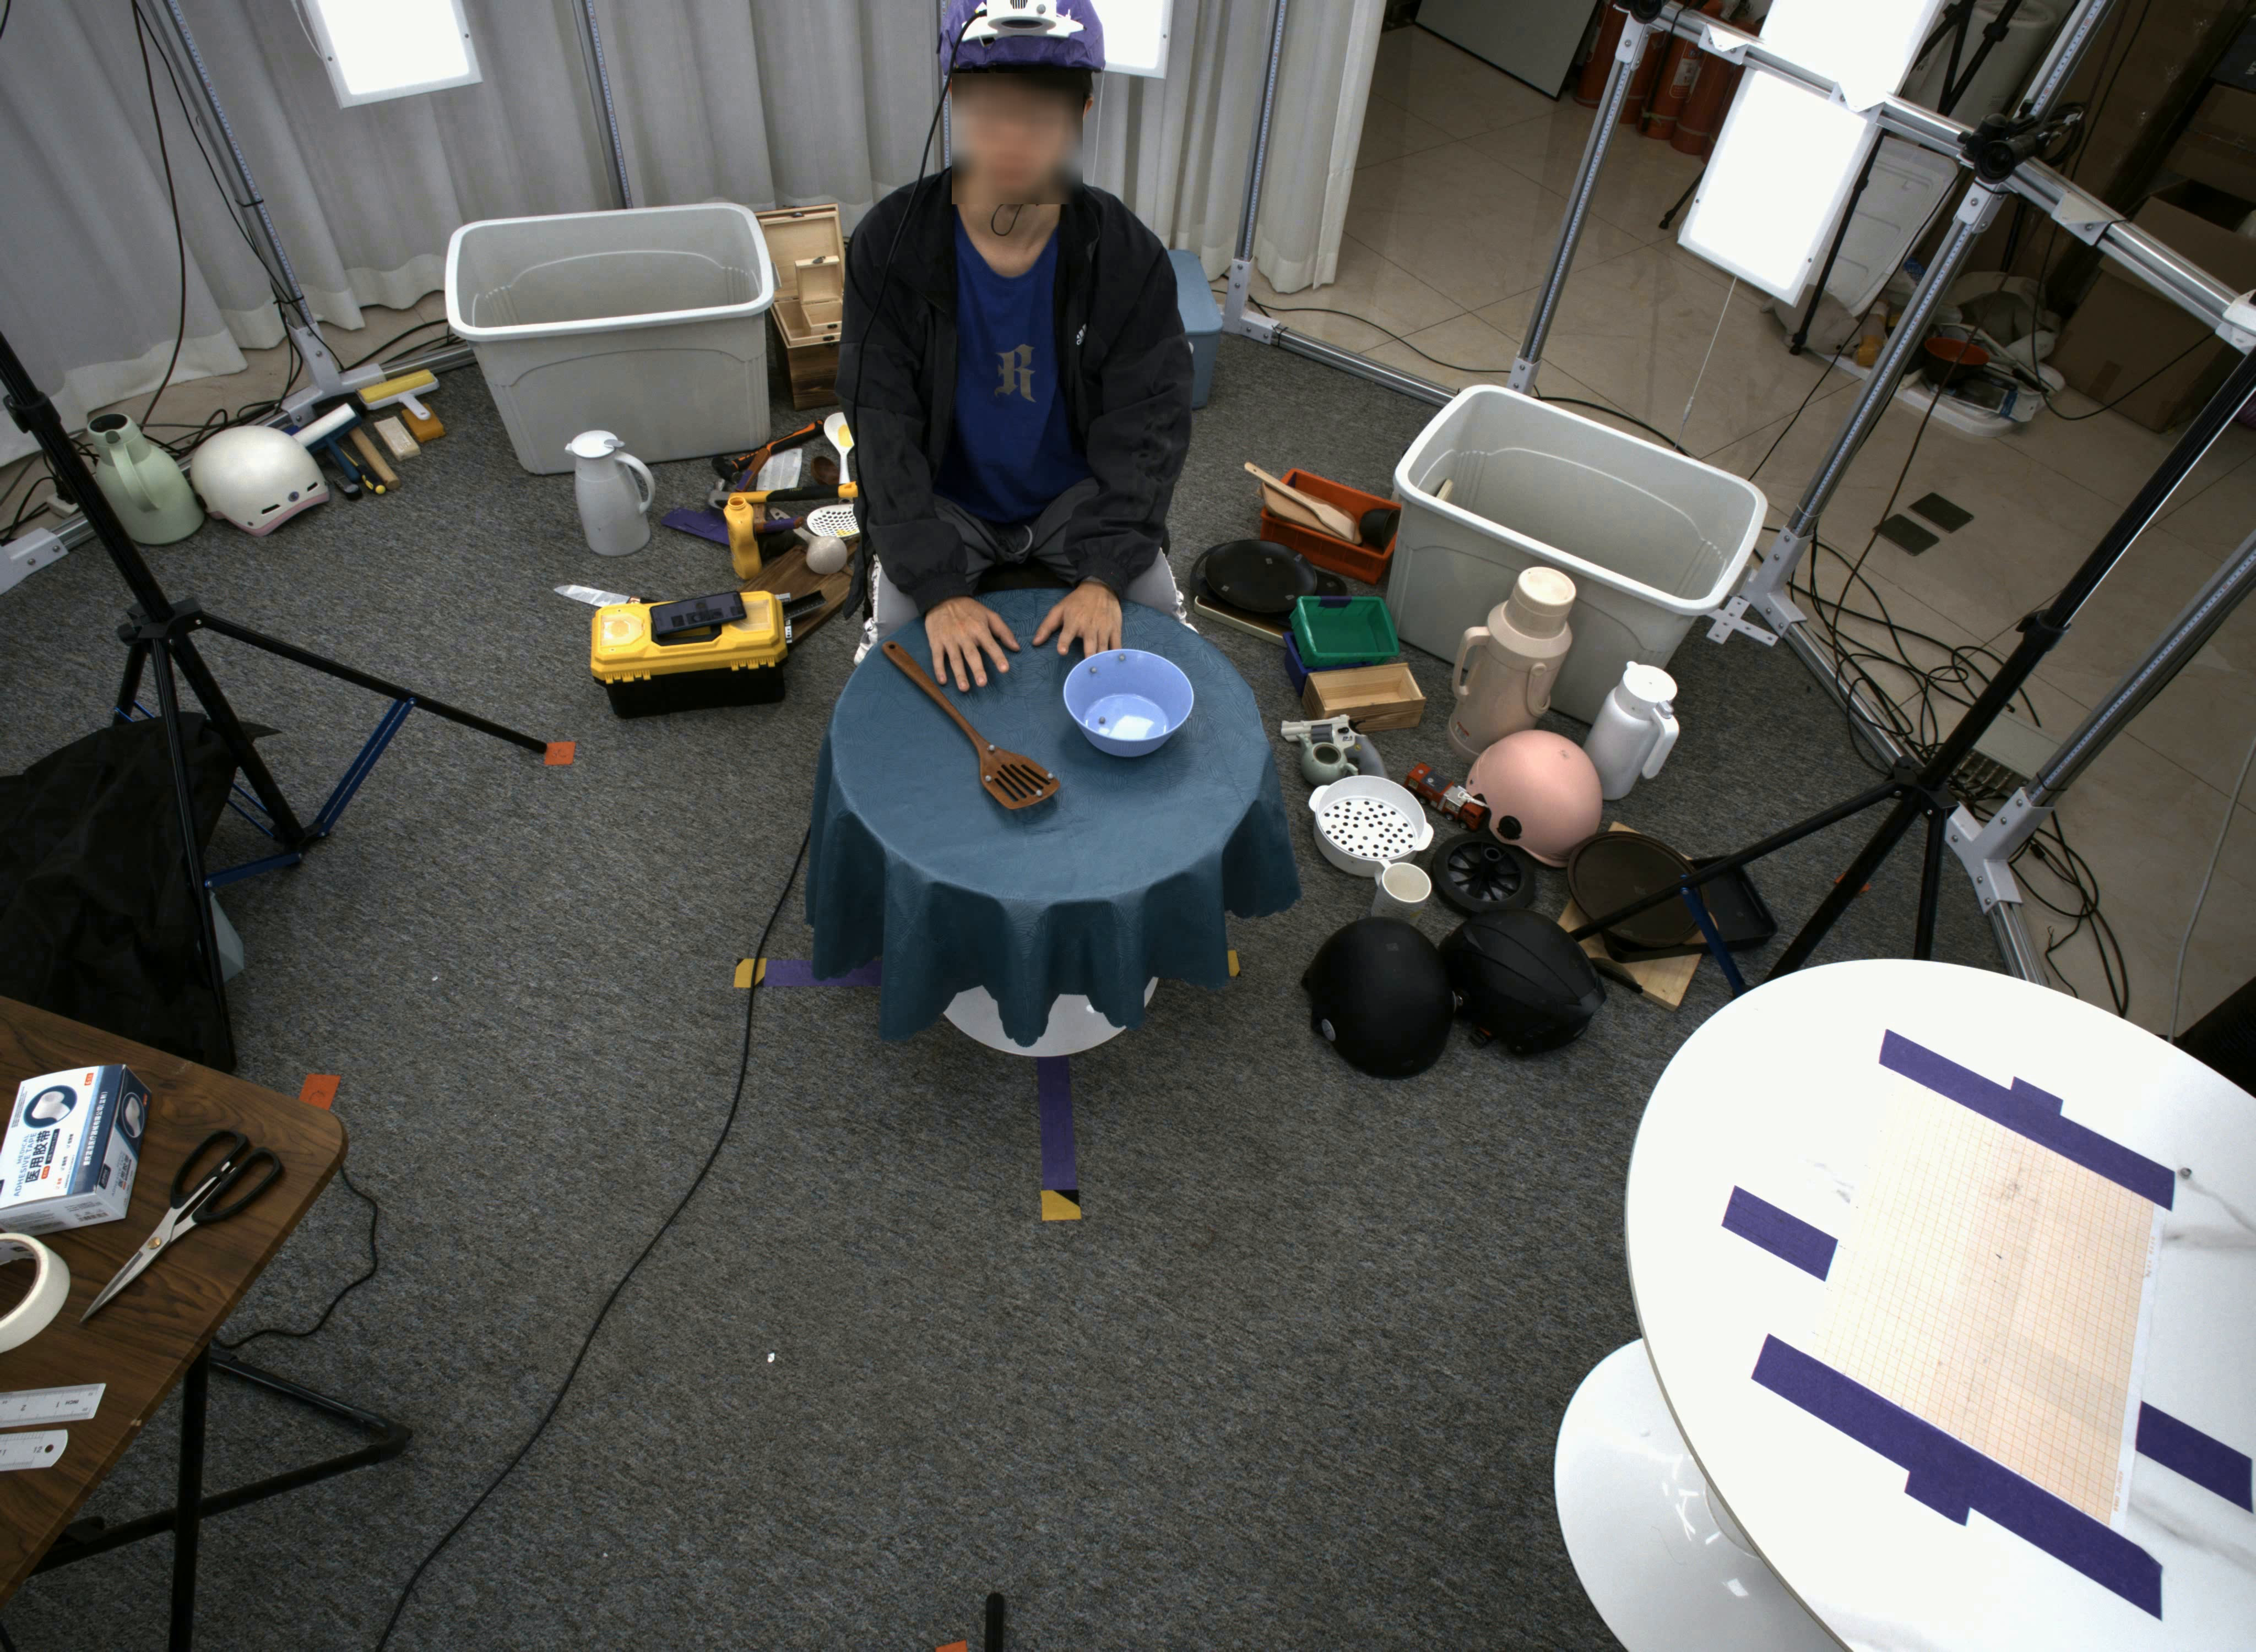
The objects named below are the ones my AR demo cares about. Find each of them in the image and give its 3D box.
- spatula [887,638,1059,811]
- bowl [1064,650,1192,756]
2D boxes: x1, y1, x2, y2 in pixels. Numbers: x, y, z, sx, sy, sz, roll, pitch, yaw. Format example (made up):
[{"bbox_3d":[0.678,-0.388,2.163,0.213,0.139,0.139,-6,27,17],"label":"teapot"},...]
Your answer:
[{"bbox_3d":[-0.230,-0.147,1.773,0.086,0.023,0.394,-27,55,-25],"label":"spatula"},{"bbox_3d":[-0.001,-0.160,1.765,0.176,0.068,0.180,2,48,-2],"label":"bowl"}]
